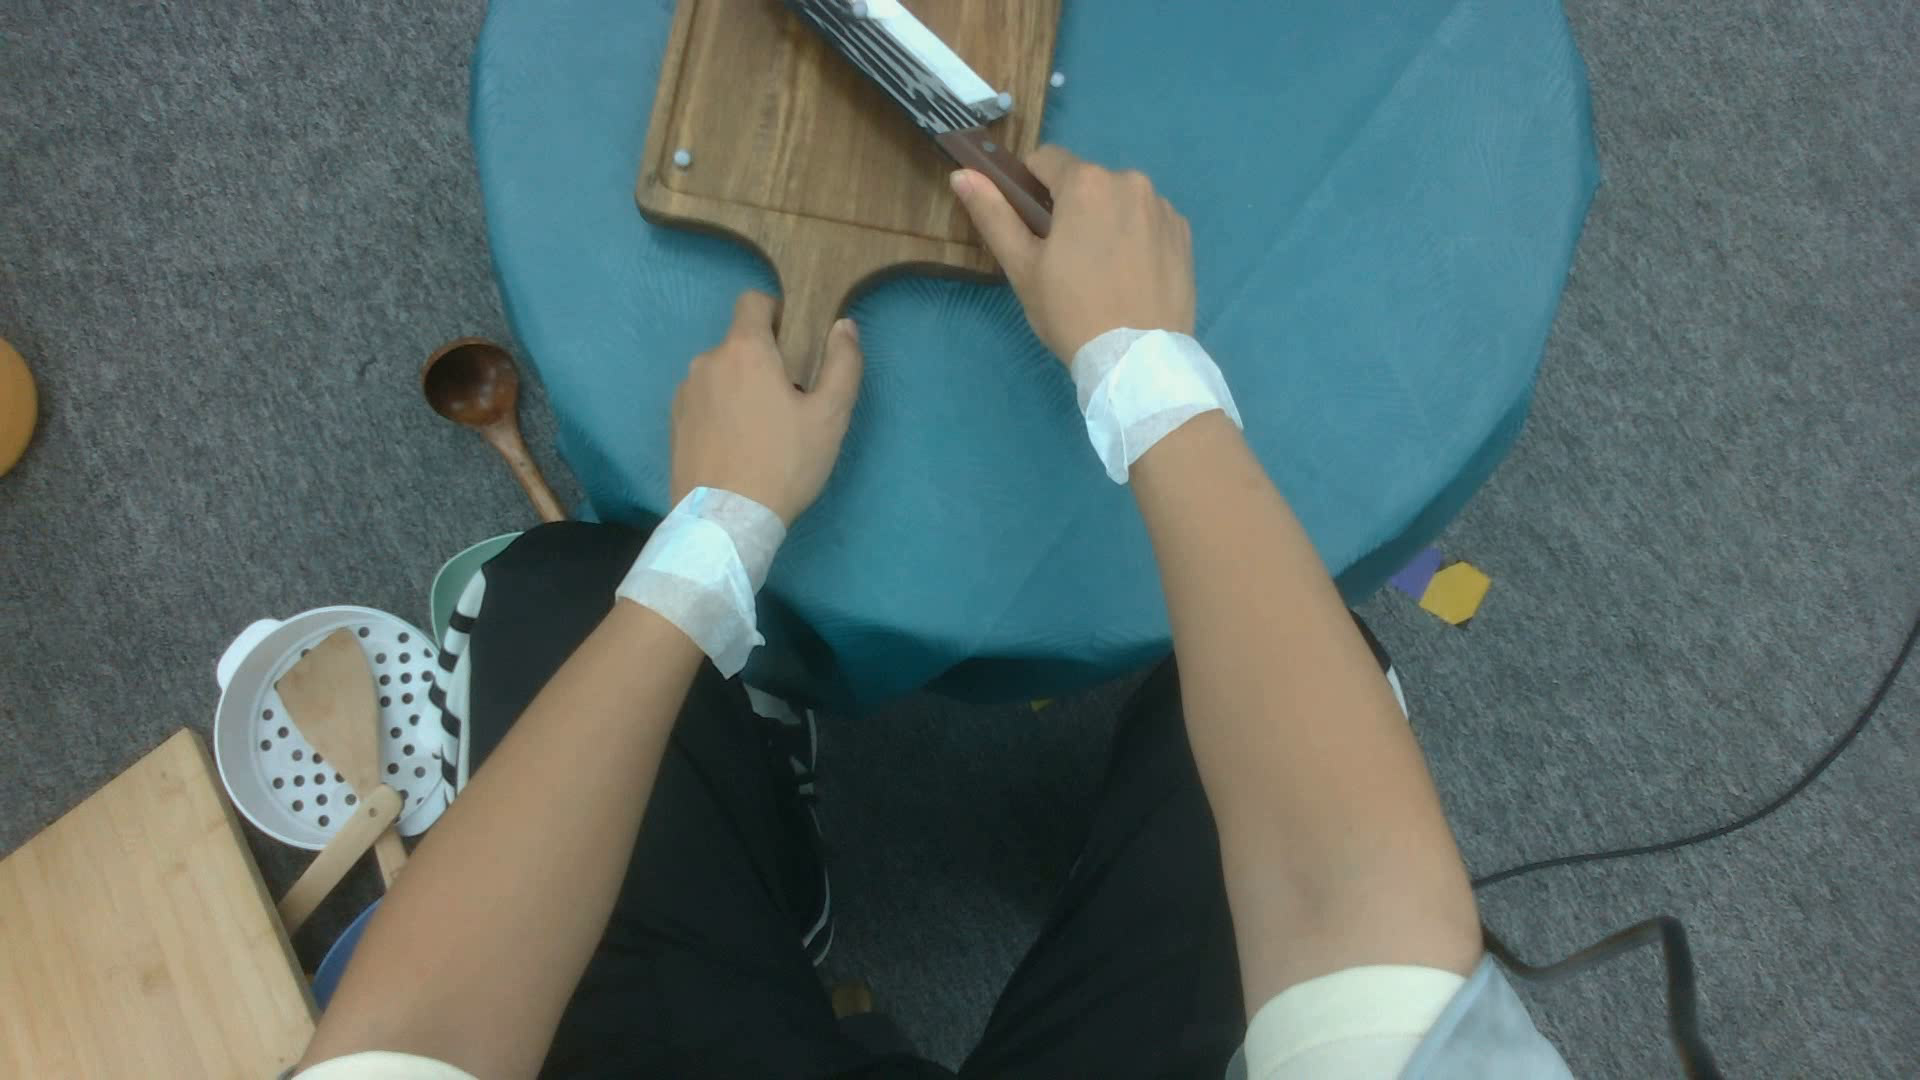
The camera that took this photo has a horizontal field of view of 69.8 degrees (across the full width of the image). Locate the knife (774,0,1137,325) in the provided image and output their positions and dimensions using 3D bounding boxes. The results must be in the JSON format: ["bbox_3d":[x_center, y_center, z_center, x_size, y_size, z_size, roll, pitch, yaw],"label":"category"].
[{"bbox_3d":[-0.007,-0.222,0.710,0.299,0.024,0.068,45,48,11],"label":"knife"}]

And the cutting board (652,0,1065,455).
[{"bbox_3d":[-0.054,-0.216,0.735,0.201,0.023,0.353,9,78,0],"label":"cutting board"}]
